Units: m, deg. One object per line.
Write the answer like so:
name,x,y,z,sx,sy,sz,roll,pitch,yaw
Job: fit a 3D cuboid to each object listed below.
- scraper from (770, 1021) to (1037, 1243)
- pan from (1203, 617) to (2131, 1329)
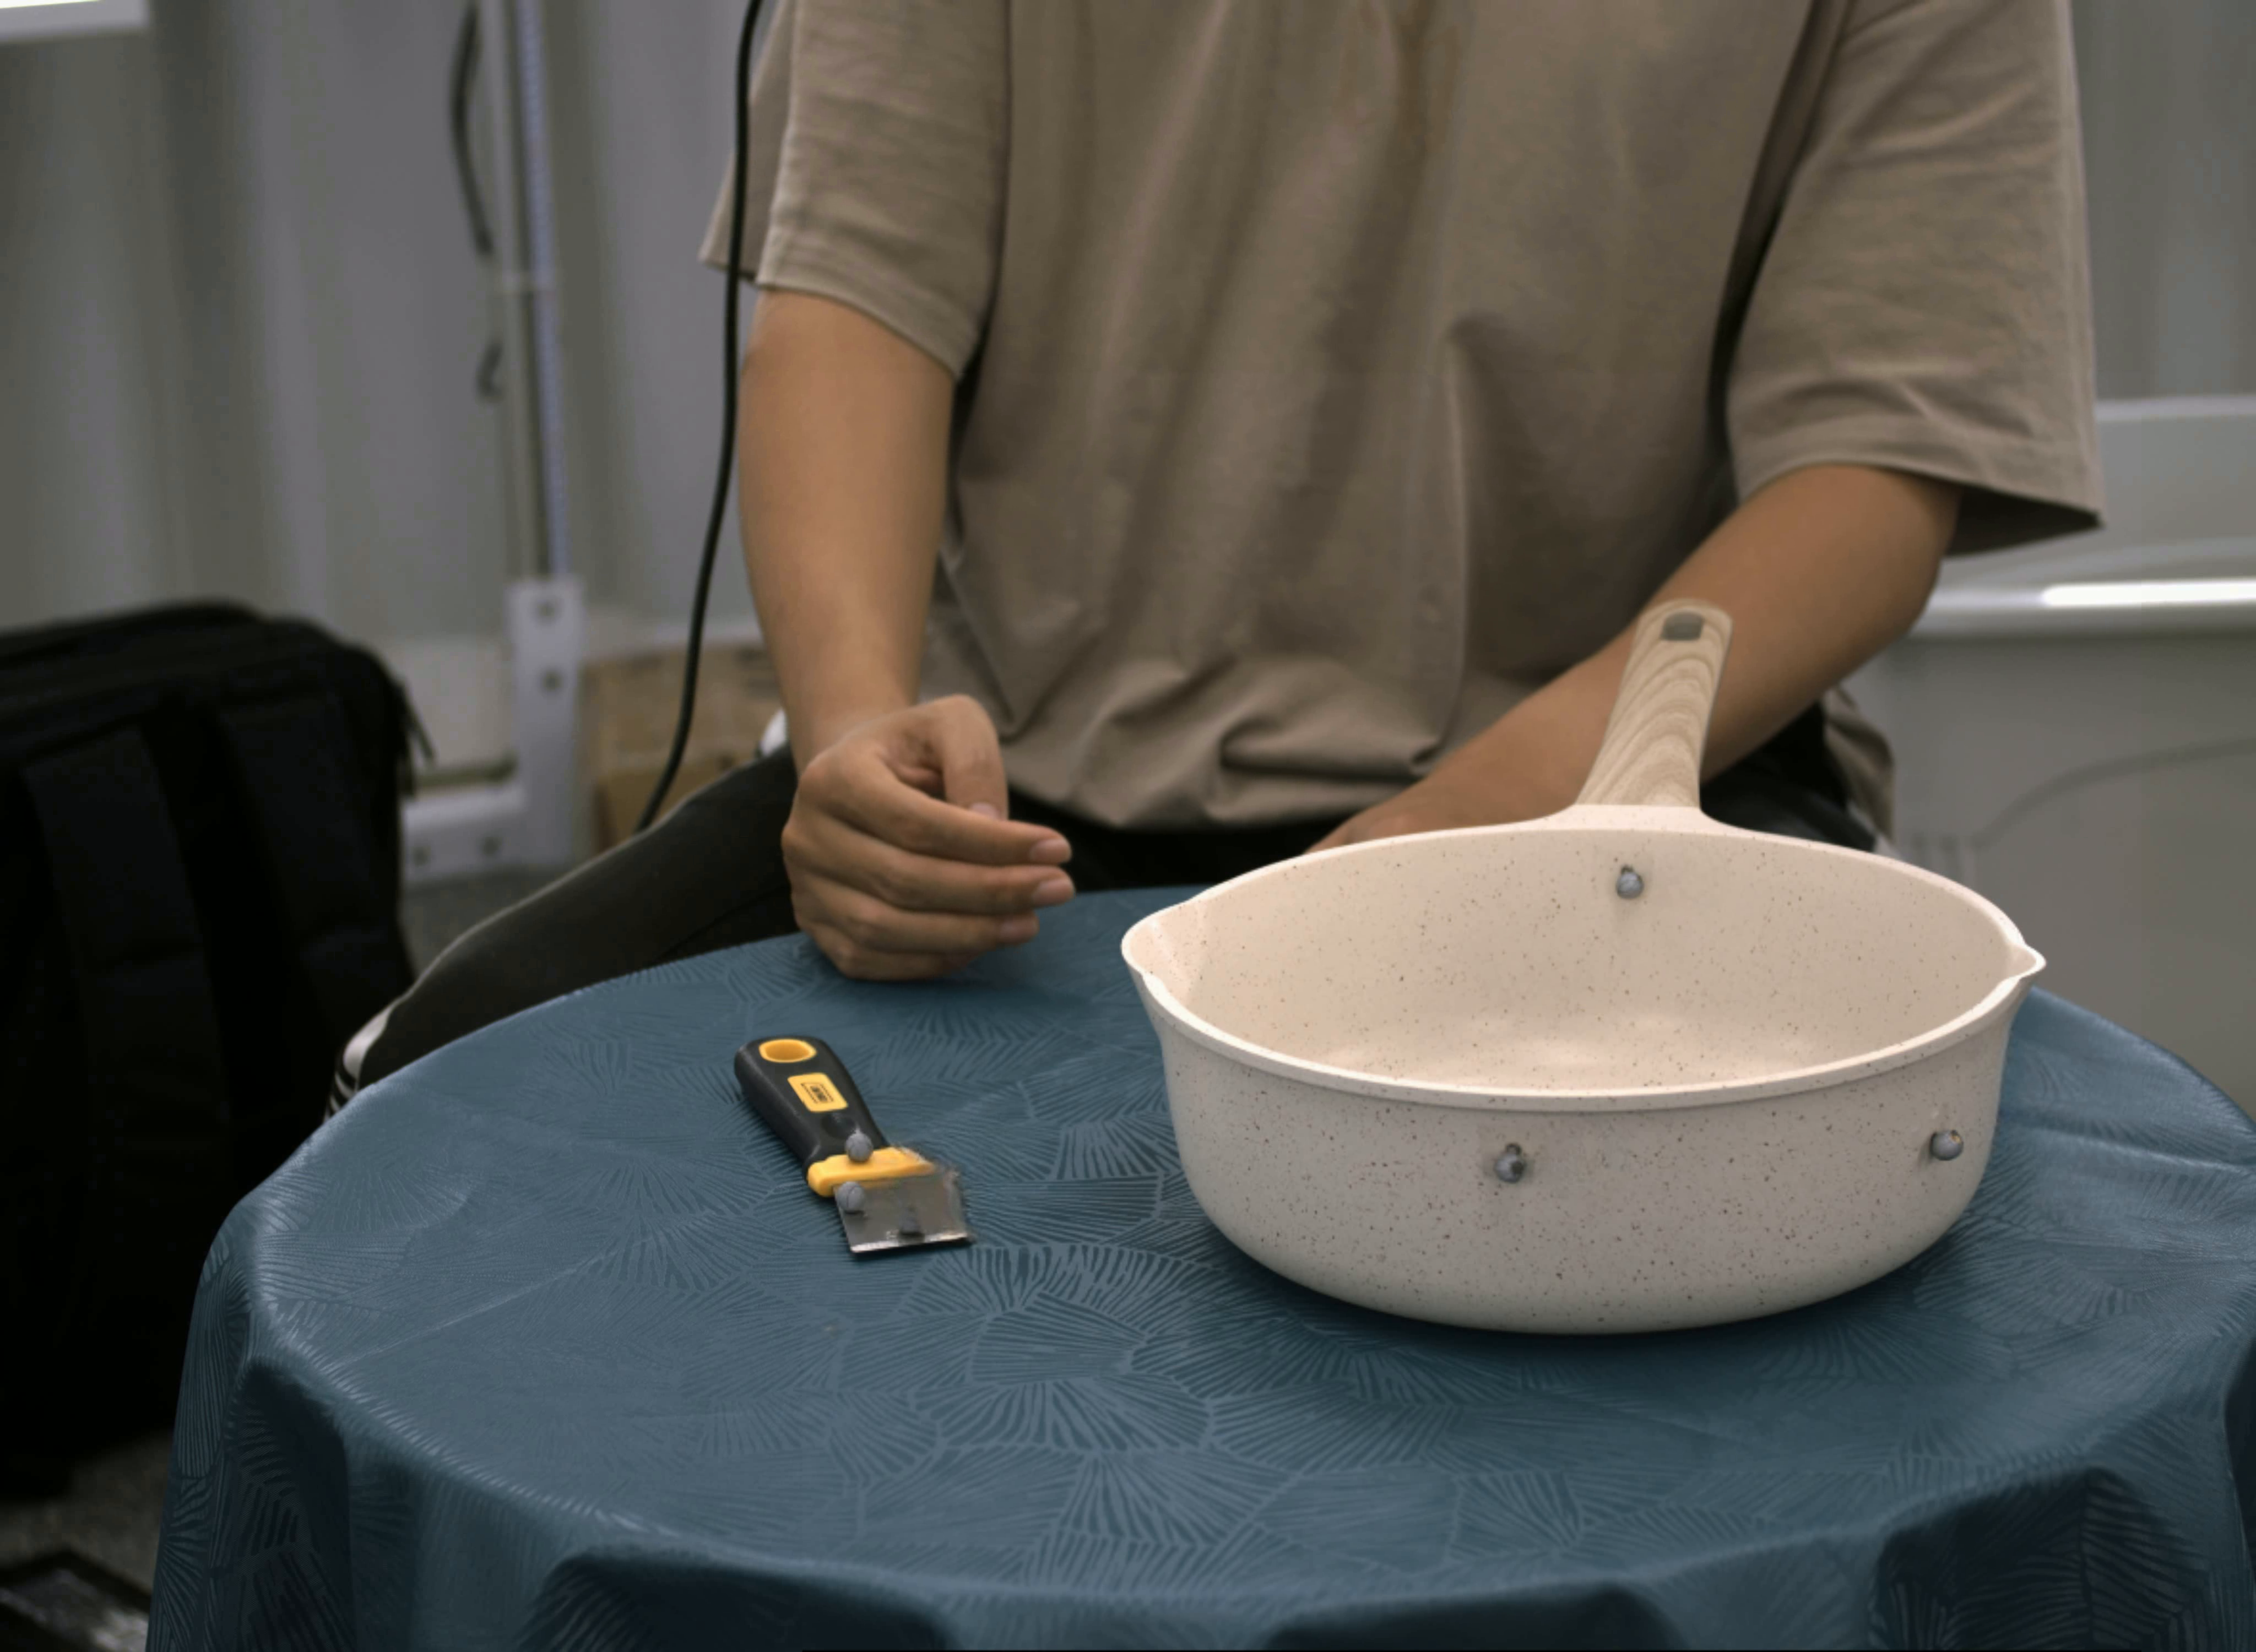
scraper,-0.072,0.090,1.586,0.038,0.015,0.174,-12,20,-17
pan,0.171,0.040,1.590,0.265,0.102,0.432,-1,16,12
